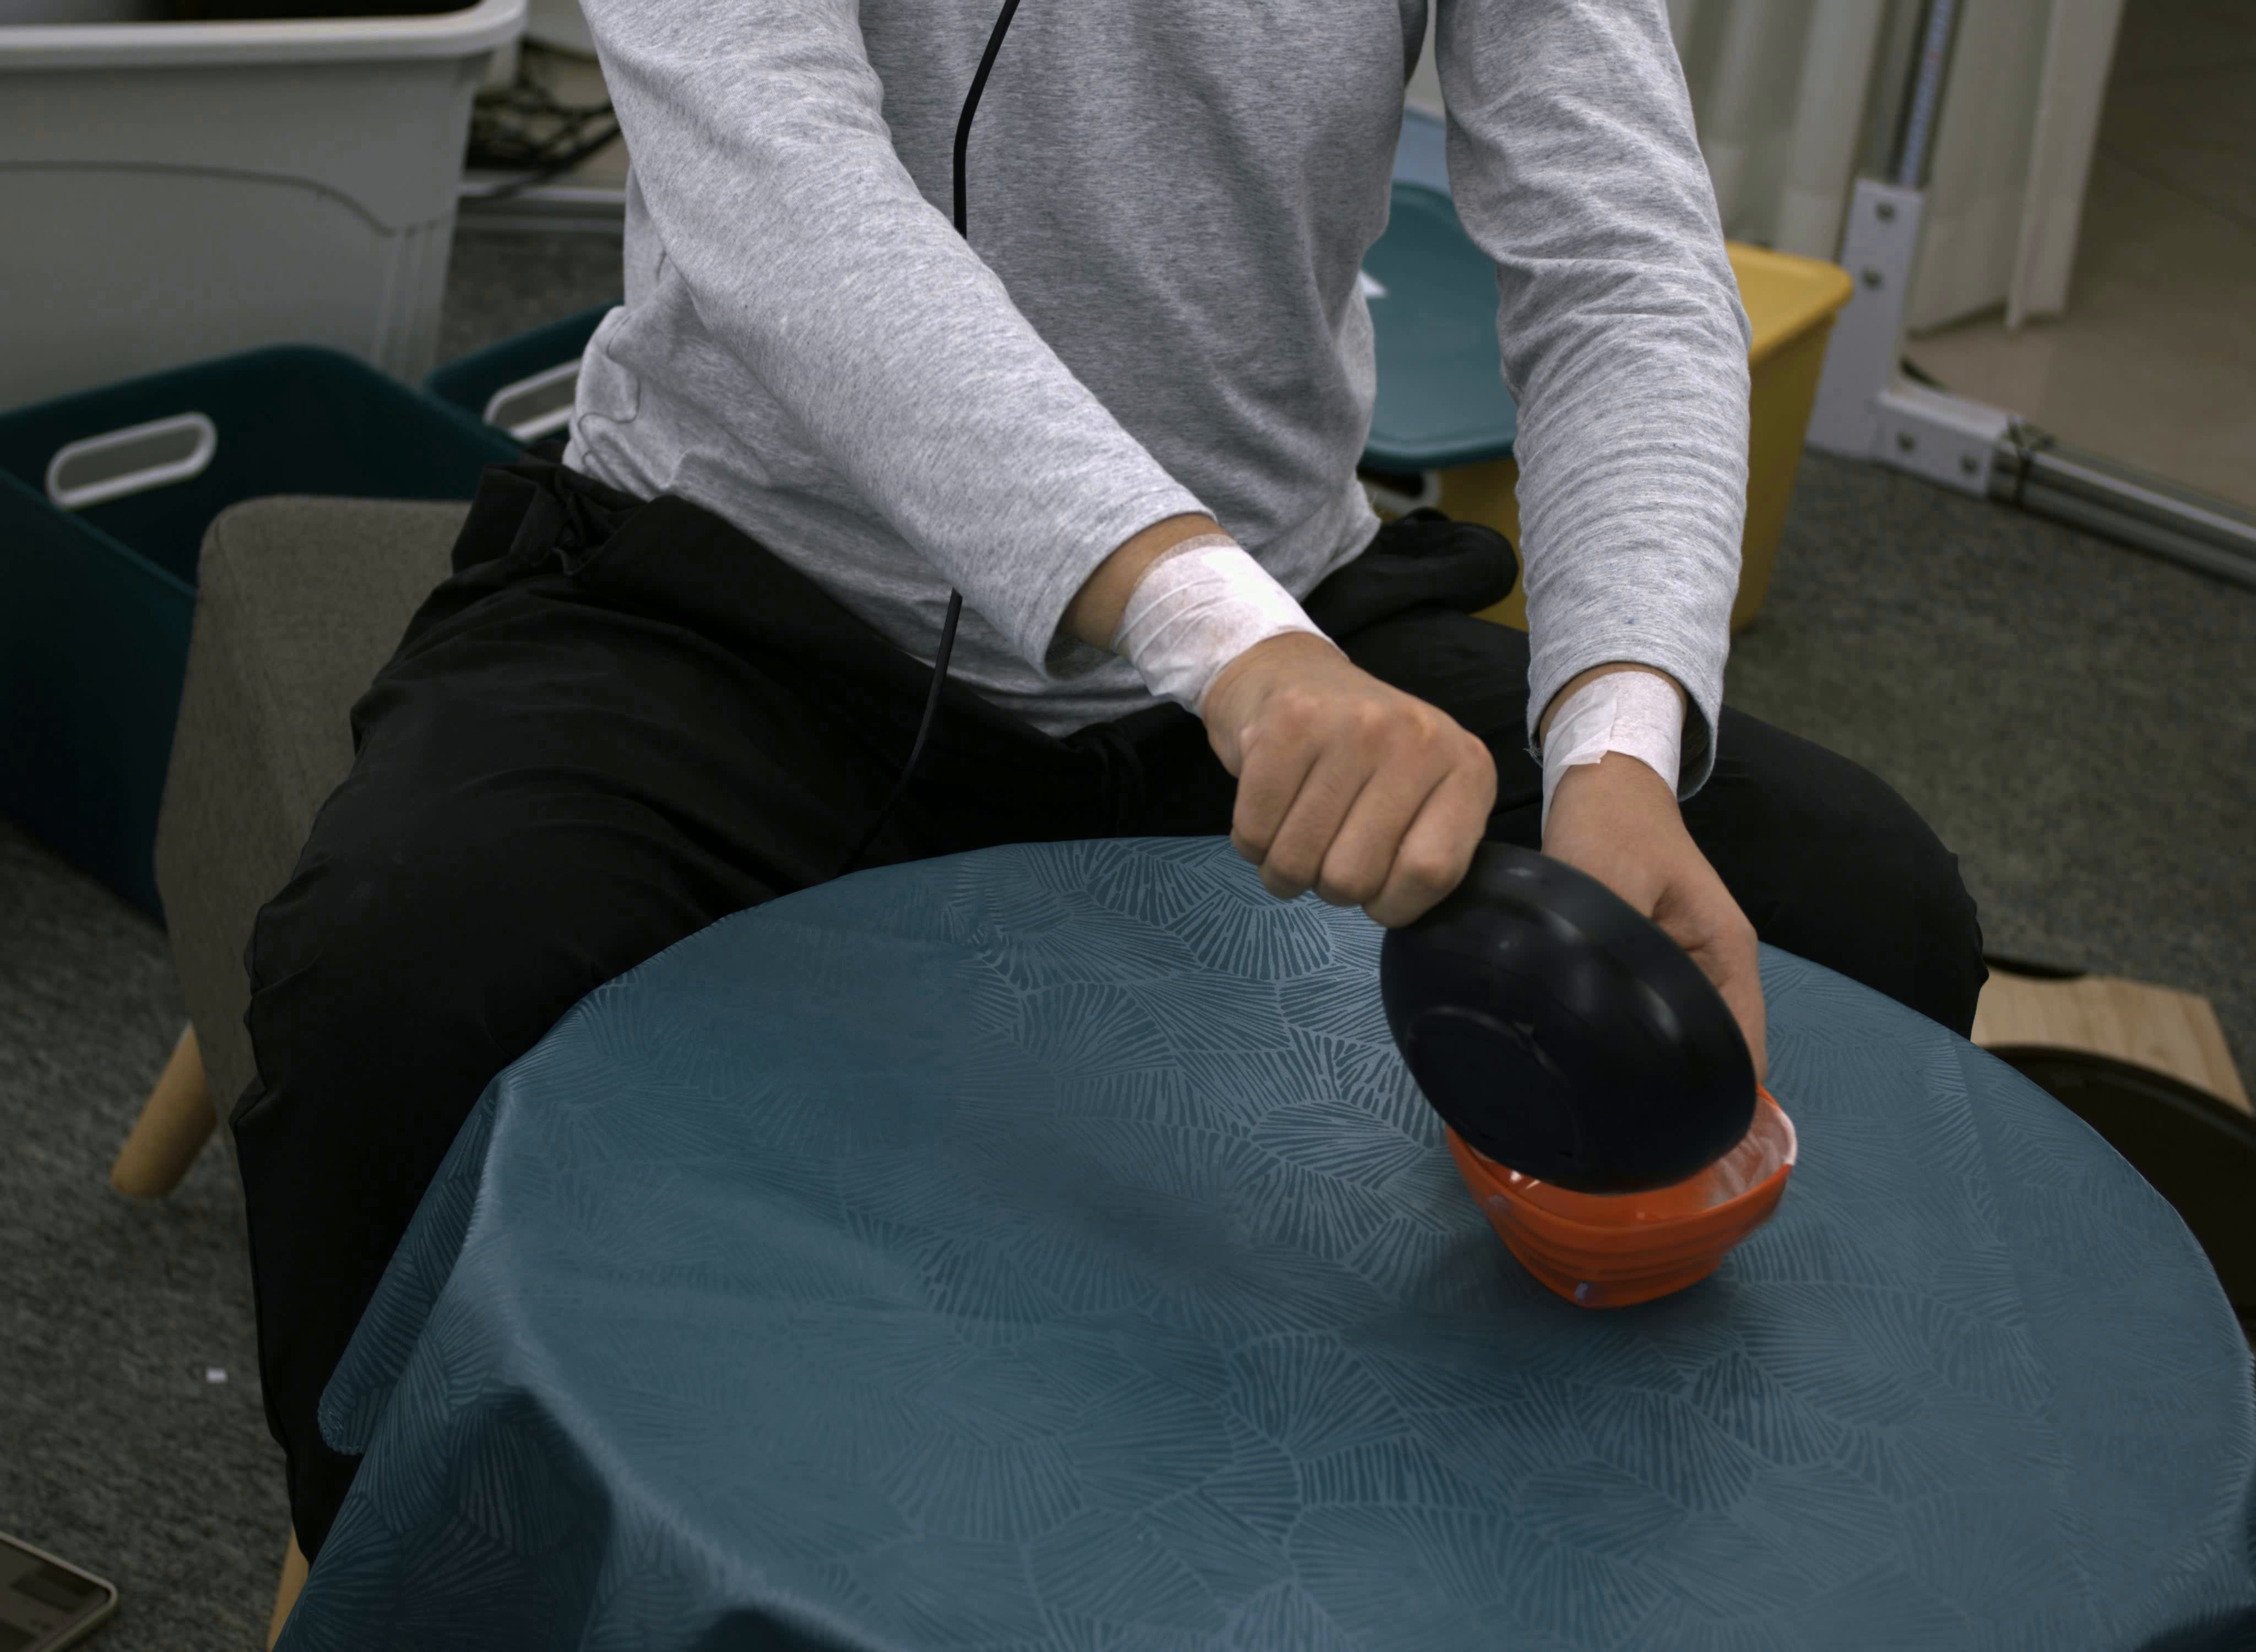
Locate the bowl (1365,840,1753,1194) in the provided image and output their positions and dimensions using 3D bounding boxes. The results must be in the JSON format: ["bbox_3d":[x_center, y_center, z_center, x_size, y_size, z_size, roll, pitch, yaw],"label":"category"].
[{"bbox_3d":[0.130,0.072,1.719,0.141,0.139,0.050,22,54,27],"label":"bowl"}]

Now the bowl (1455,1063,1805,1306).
[{"bbox_3d":[0.166,0.118,1.786,0.118,0.051,0.120,2,33,-1],"label":"bowl"}]
